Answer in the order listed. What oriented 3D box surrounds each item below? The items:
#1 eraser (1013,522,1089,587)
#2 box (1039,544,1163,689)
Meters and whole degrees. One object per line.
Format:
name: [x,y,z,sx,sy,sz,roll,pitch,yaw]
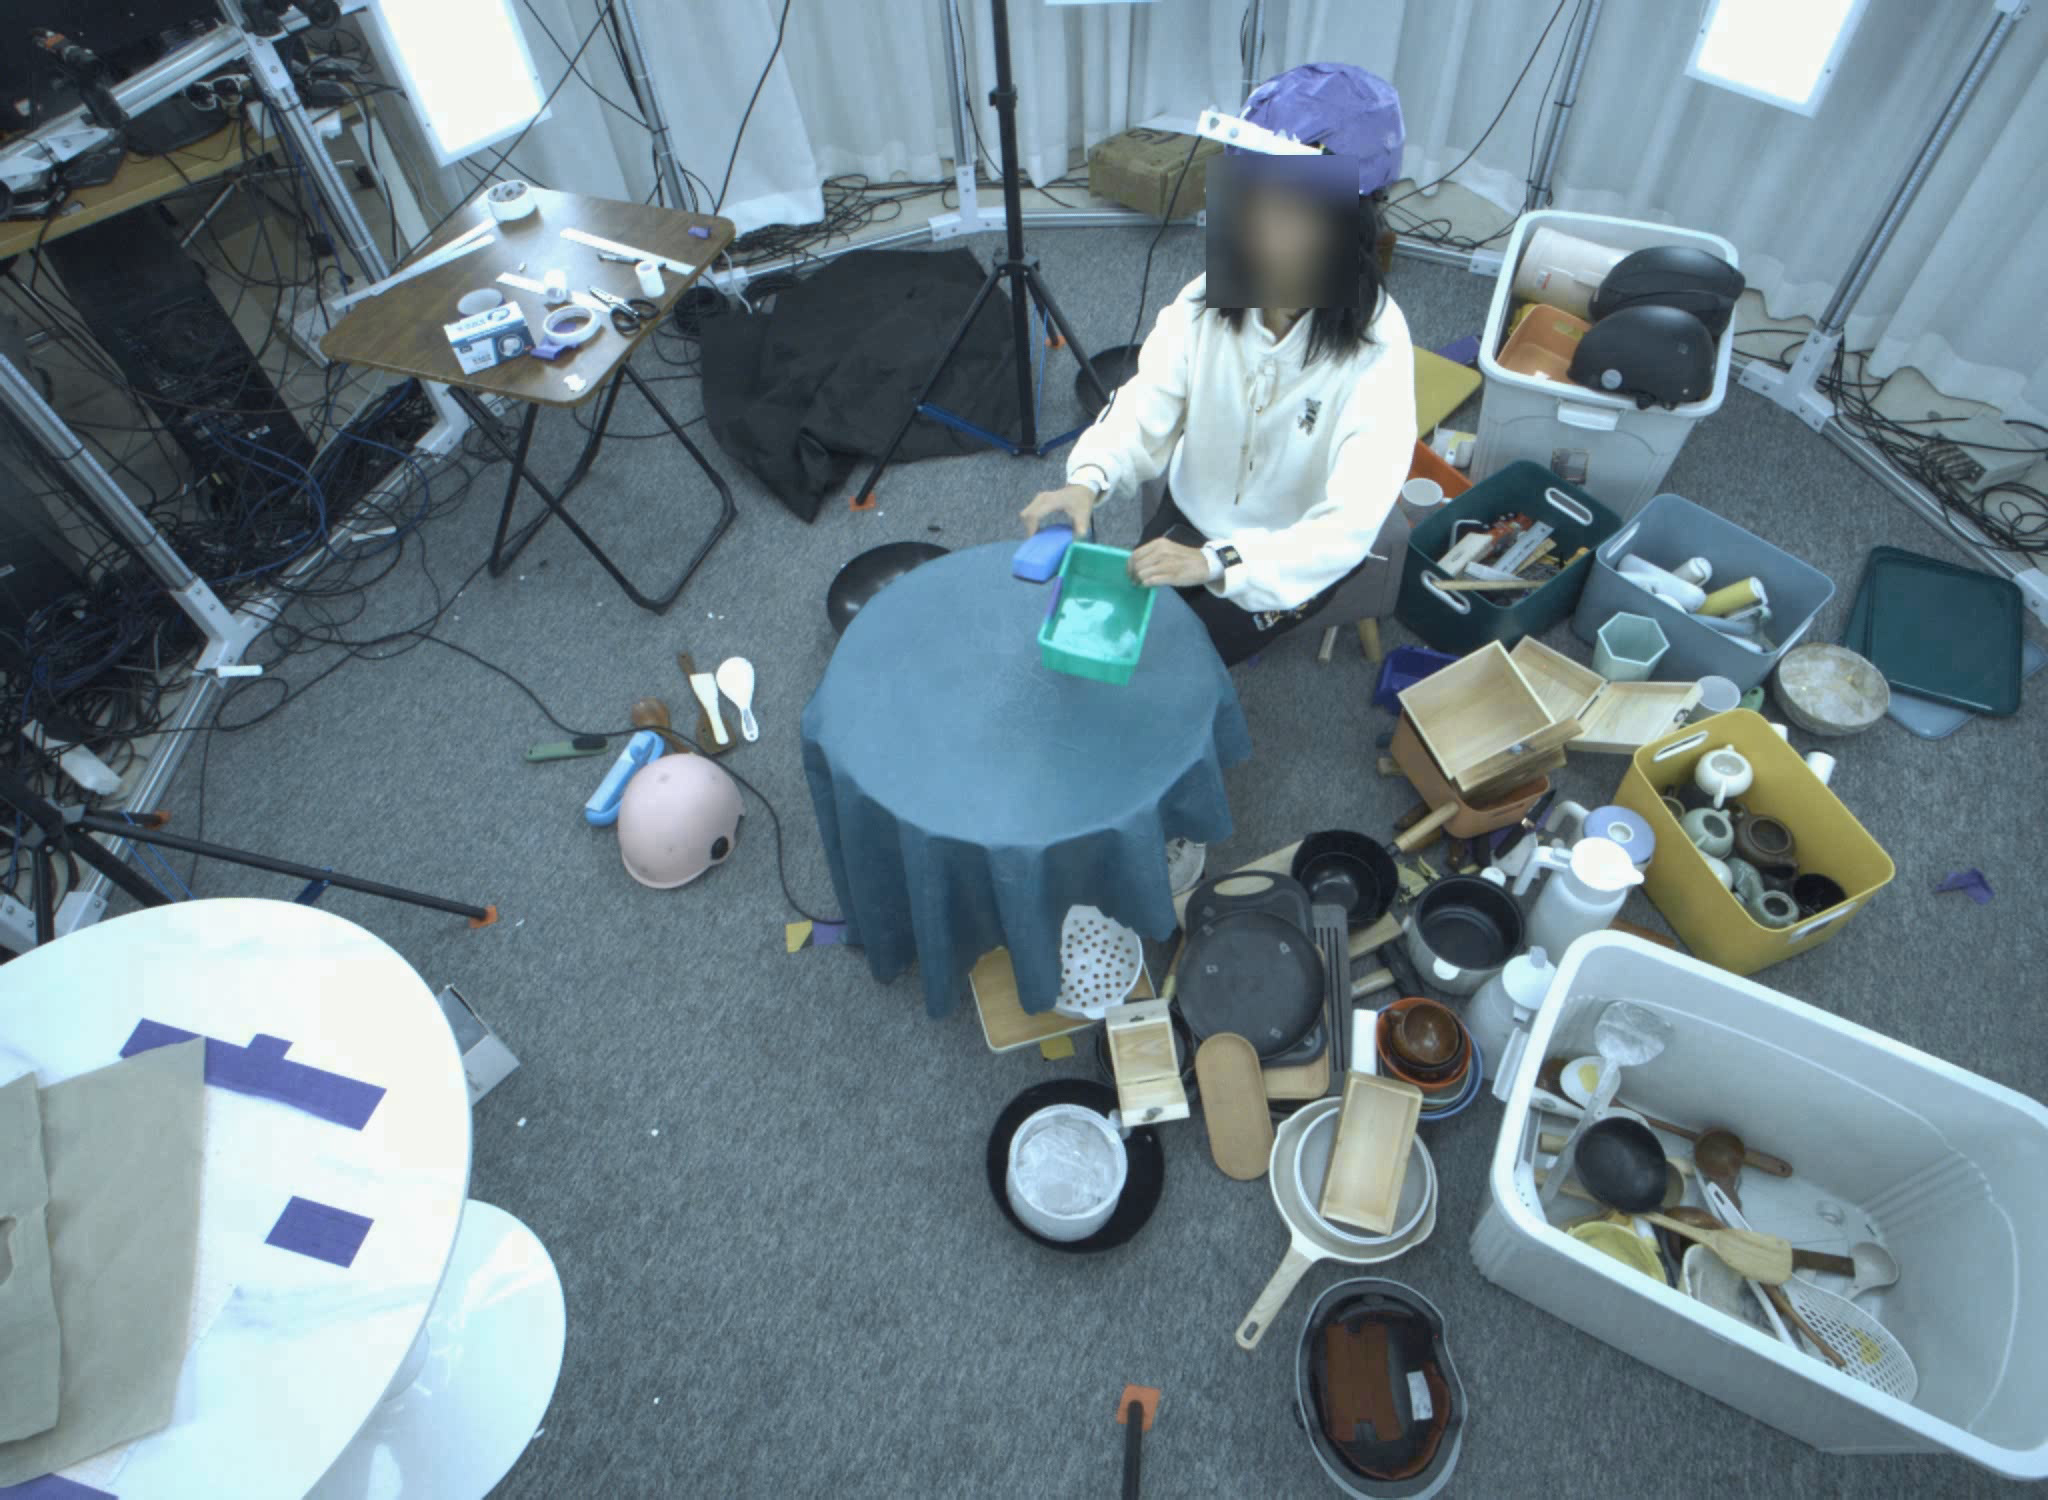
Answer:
eraser: [0.040,-0.285,1.744,0.053,0.048,0.163,17,36,18]
box: [0.106,-0.181,1.690,0.138,0.066,0.209,11,57,5]
